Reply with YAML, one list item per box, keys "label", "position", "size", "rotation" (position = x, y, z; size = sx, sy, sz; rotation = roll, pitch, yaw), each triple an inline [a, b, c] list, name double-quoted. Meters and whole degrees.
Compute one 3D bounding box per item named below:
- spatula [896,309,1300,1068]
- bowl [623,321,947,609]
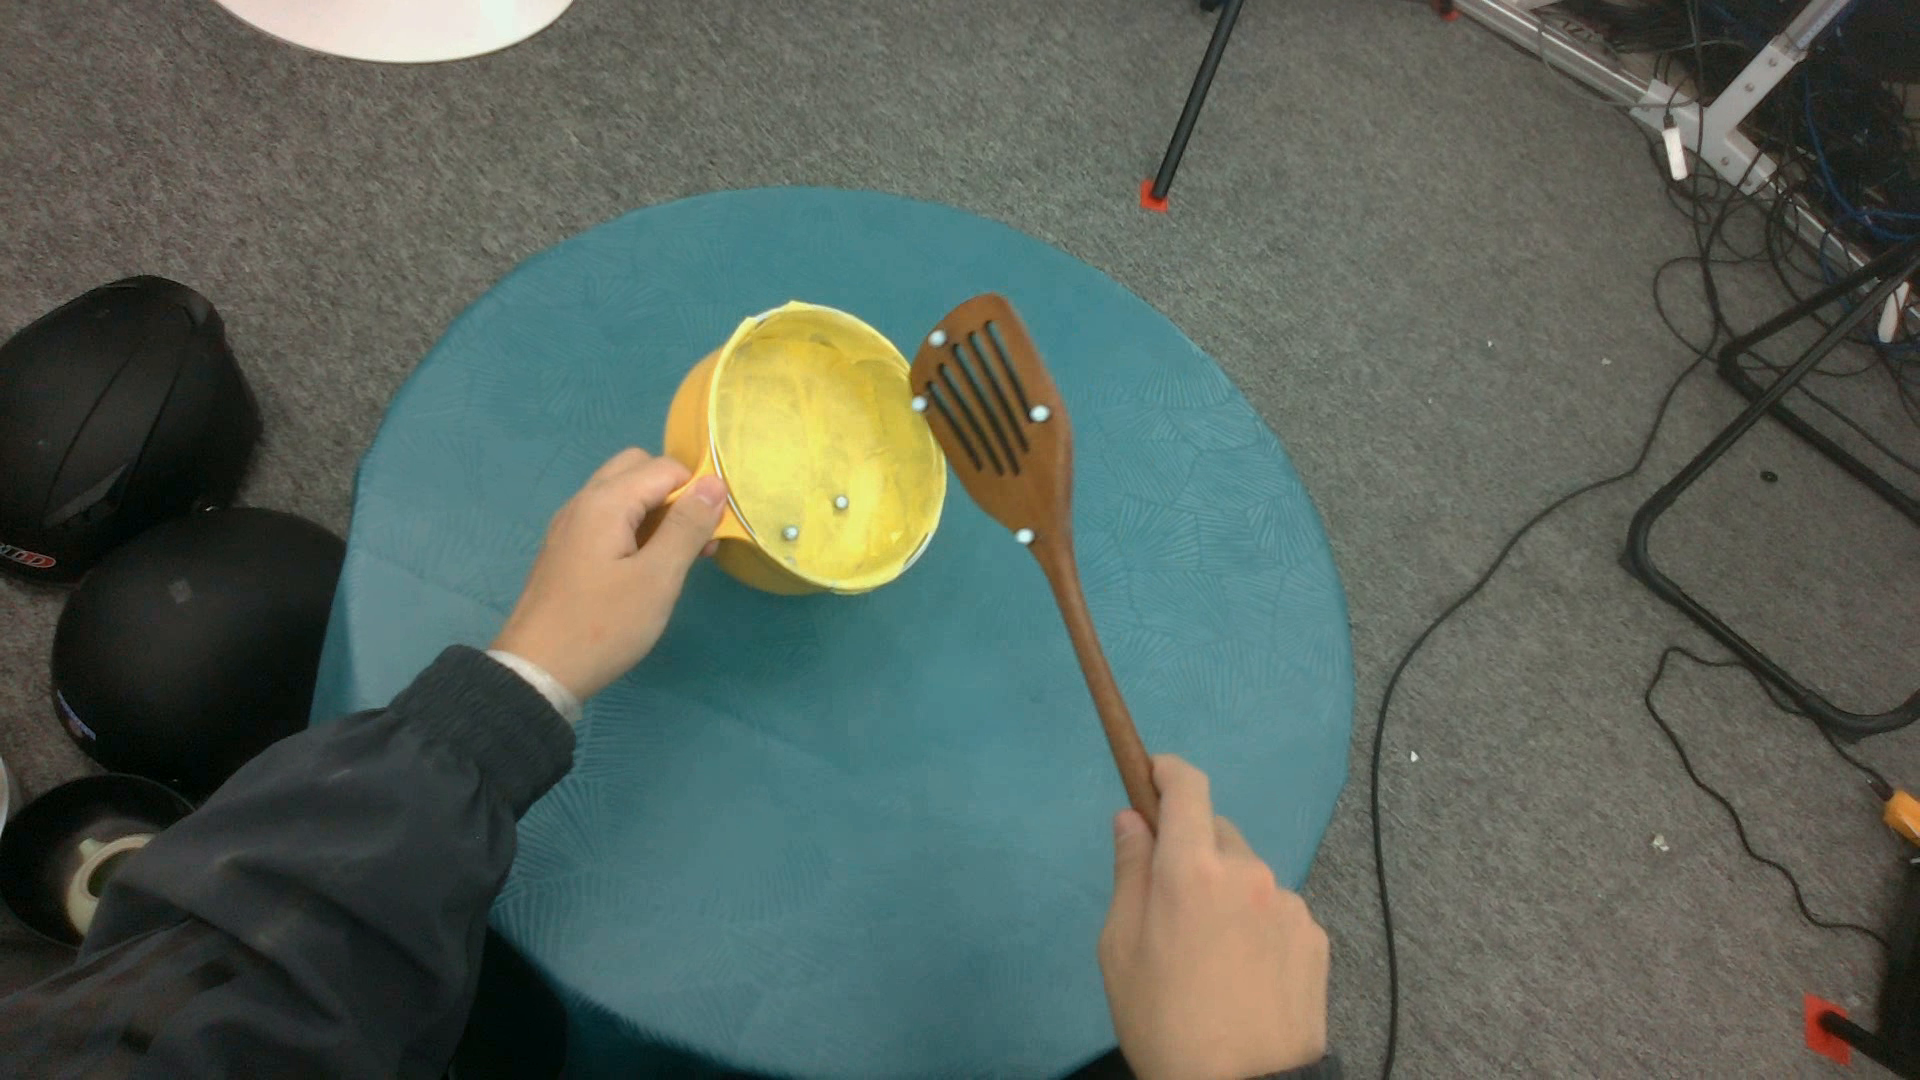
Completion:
- label: "spatula"
  position: [0.065, 0.060, 0.655]
  size: [0.024, 0.085, 0.387]
  rotation: [-7, 64, -40]
- label: "bowl"
  position: [-0.096, -0.030, 0.738]
  size: [0.180, 0.074, 0.153]
  rotation: [-42, 105, -42]
